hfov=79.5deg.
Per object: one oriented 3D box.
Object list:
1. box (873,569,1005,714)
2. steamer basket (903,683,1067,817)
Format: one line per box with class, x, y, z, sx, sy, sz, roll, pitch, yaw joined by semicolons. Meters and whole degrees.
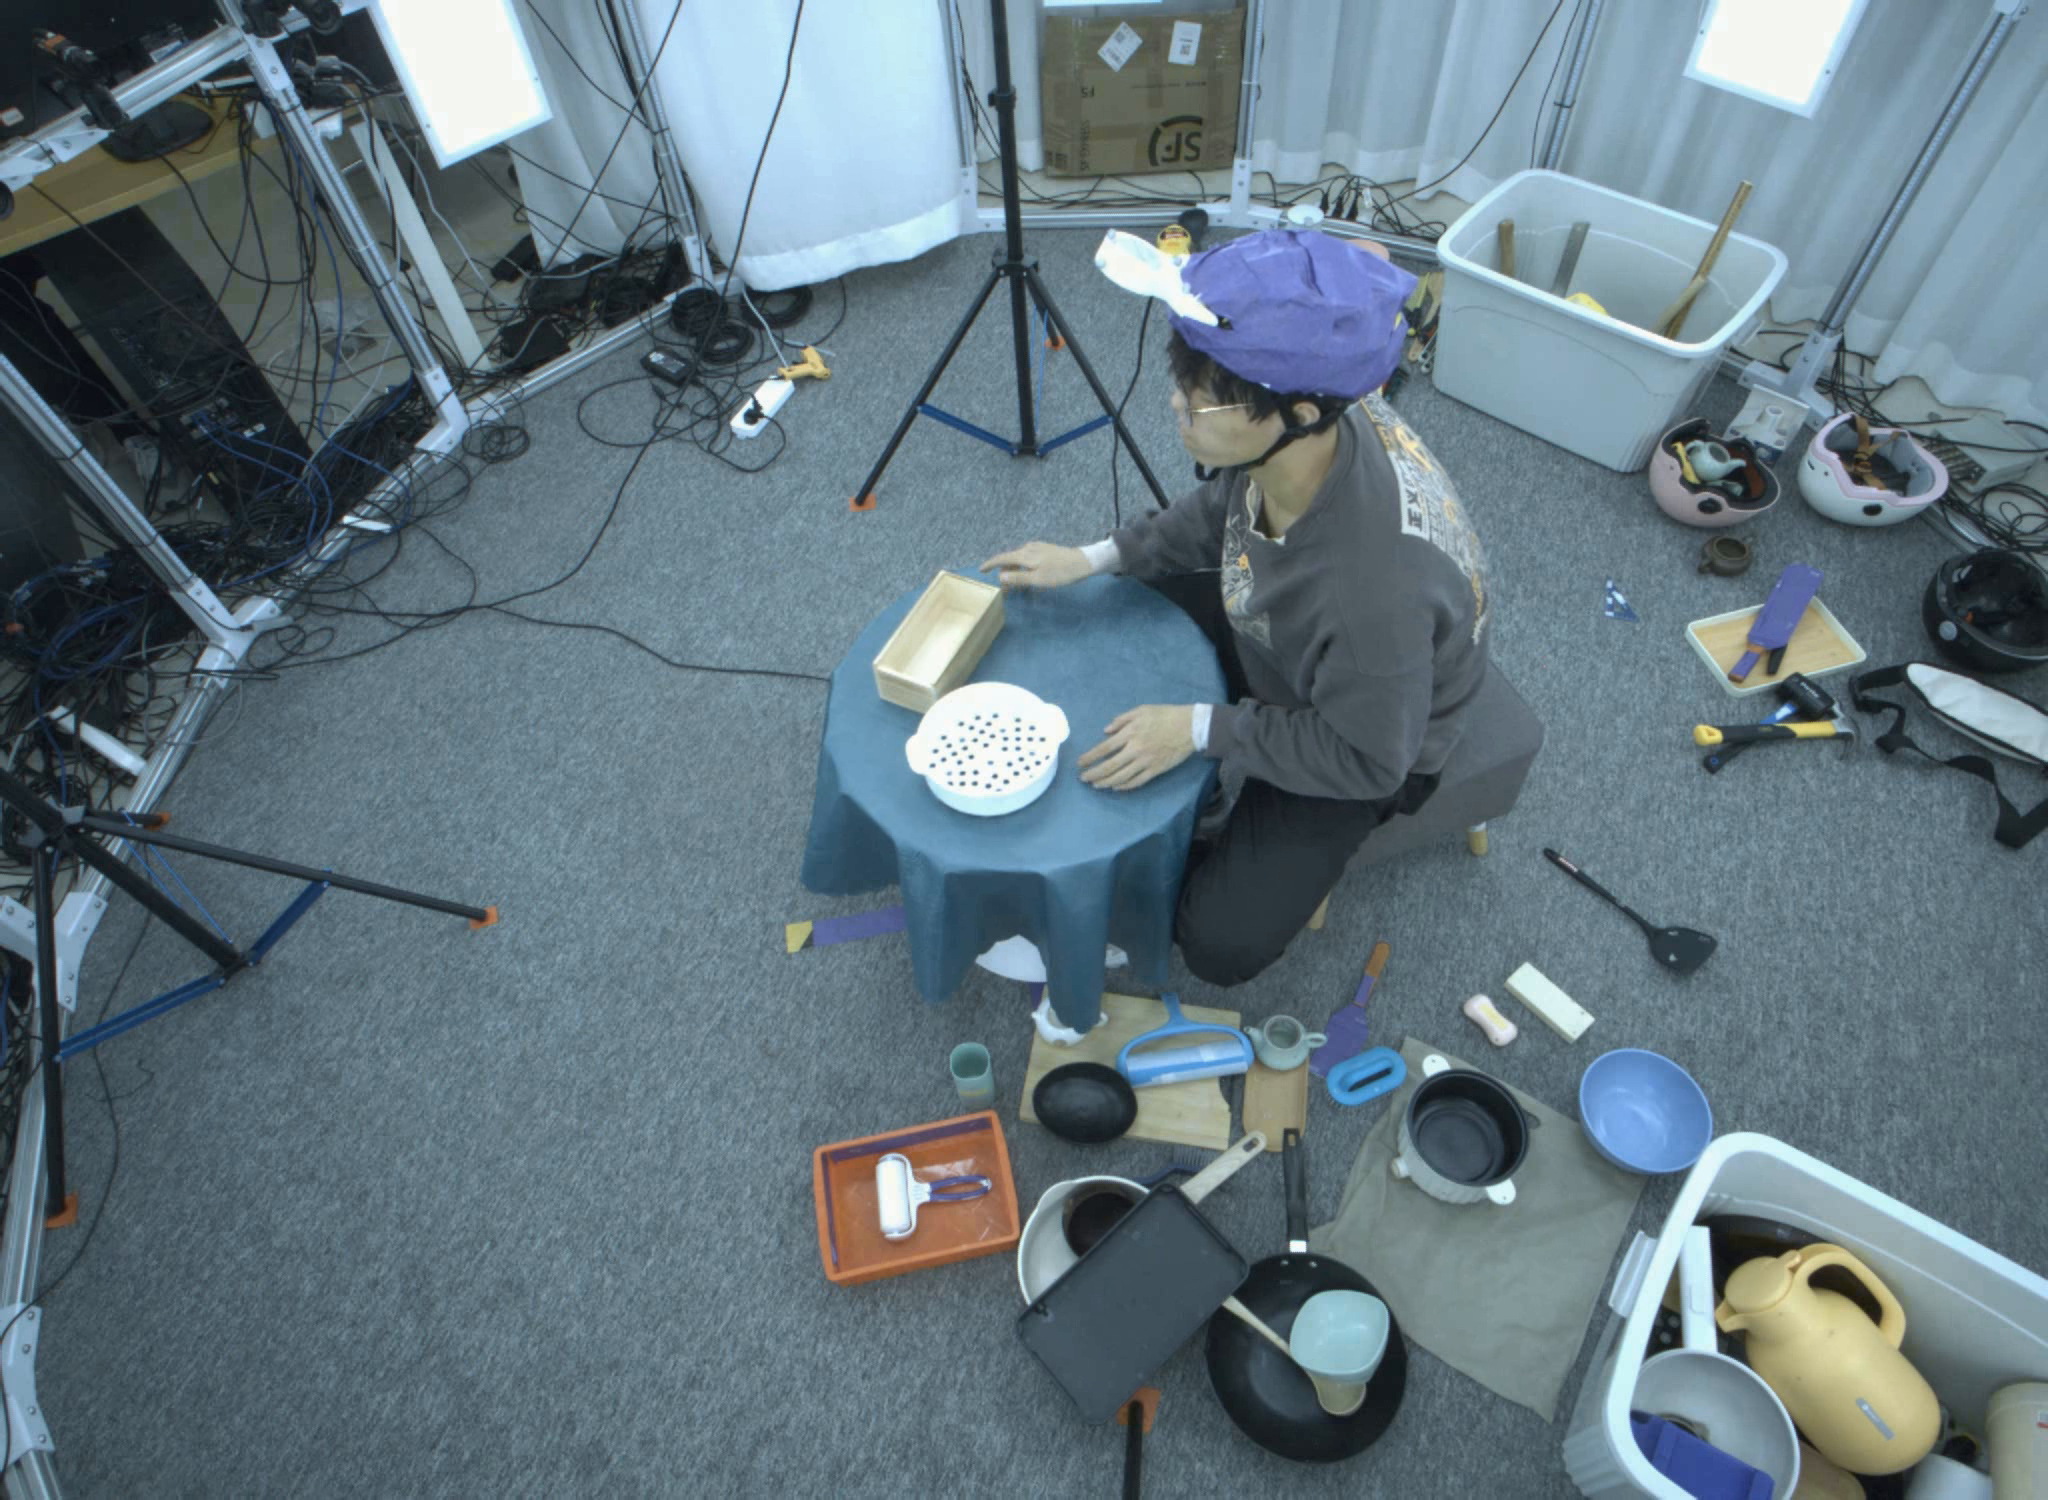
box;-0.126;-0.163;1.856;0.106;0.081;0.211;21;58;16
steamer basket;-0.054;0.002;1.743;0.232;0.070;0.198;-12;55;-8
